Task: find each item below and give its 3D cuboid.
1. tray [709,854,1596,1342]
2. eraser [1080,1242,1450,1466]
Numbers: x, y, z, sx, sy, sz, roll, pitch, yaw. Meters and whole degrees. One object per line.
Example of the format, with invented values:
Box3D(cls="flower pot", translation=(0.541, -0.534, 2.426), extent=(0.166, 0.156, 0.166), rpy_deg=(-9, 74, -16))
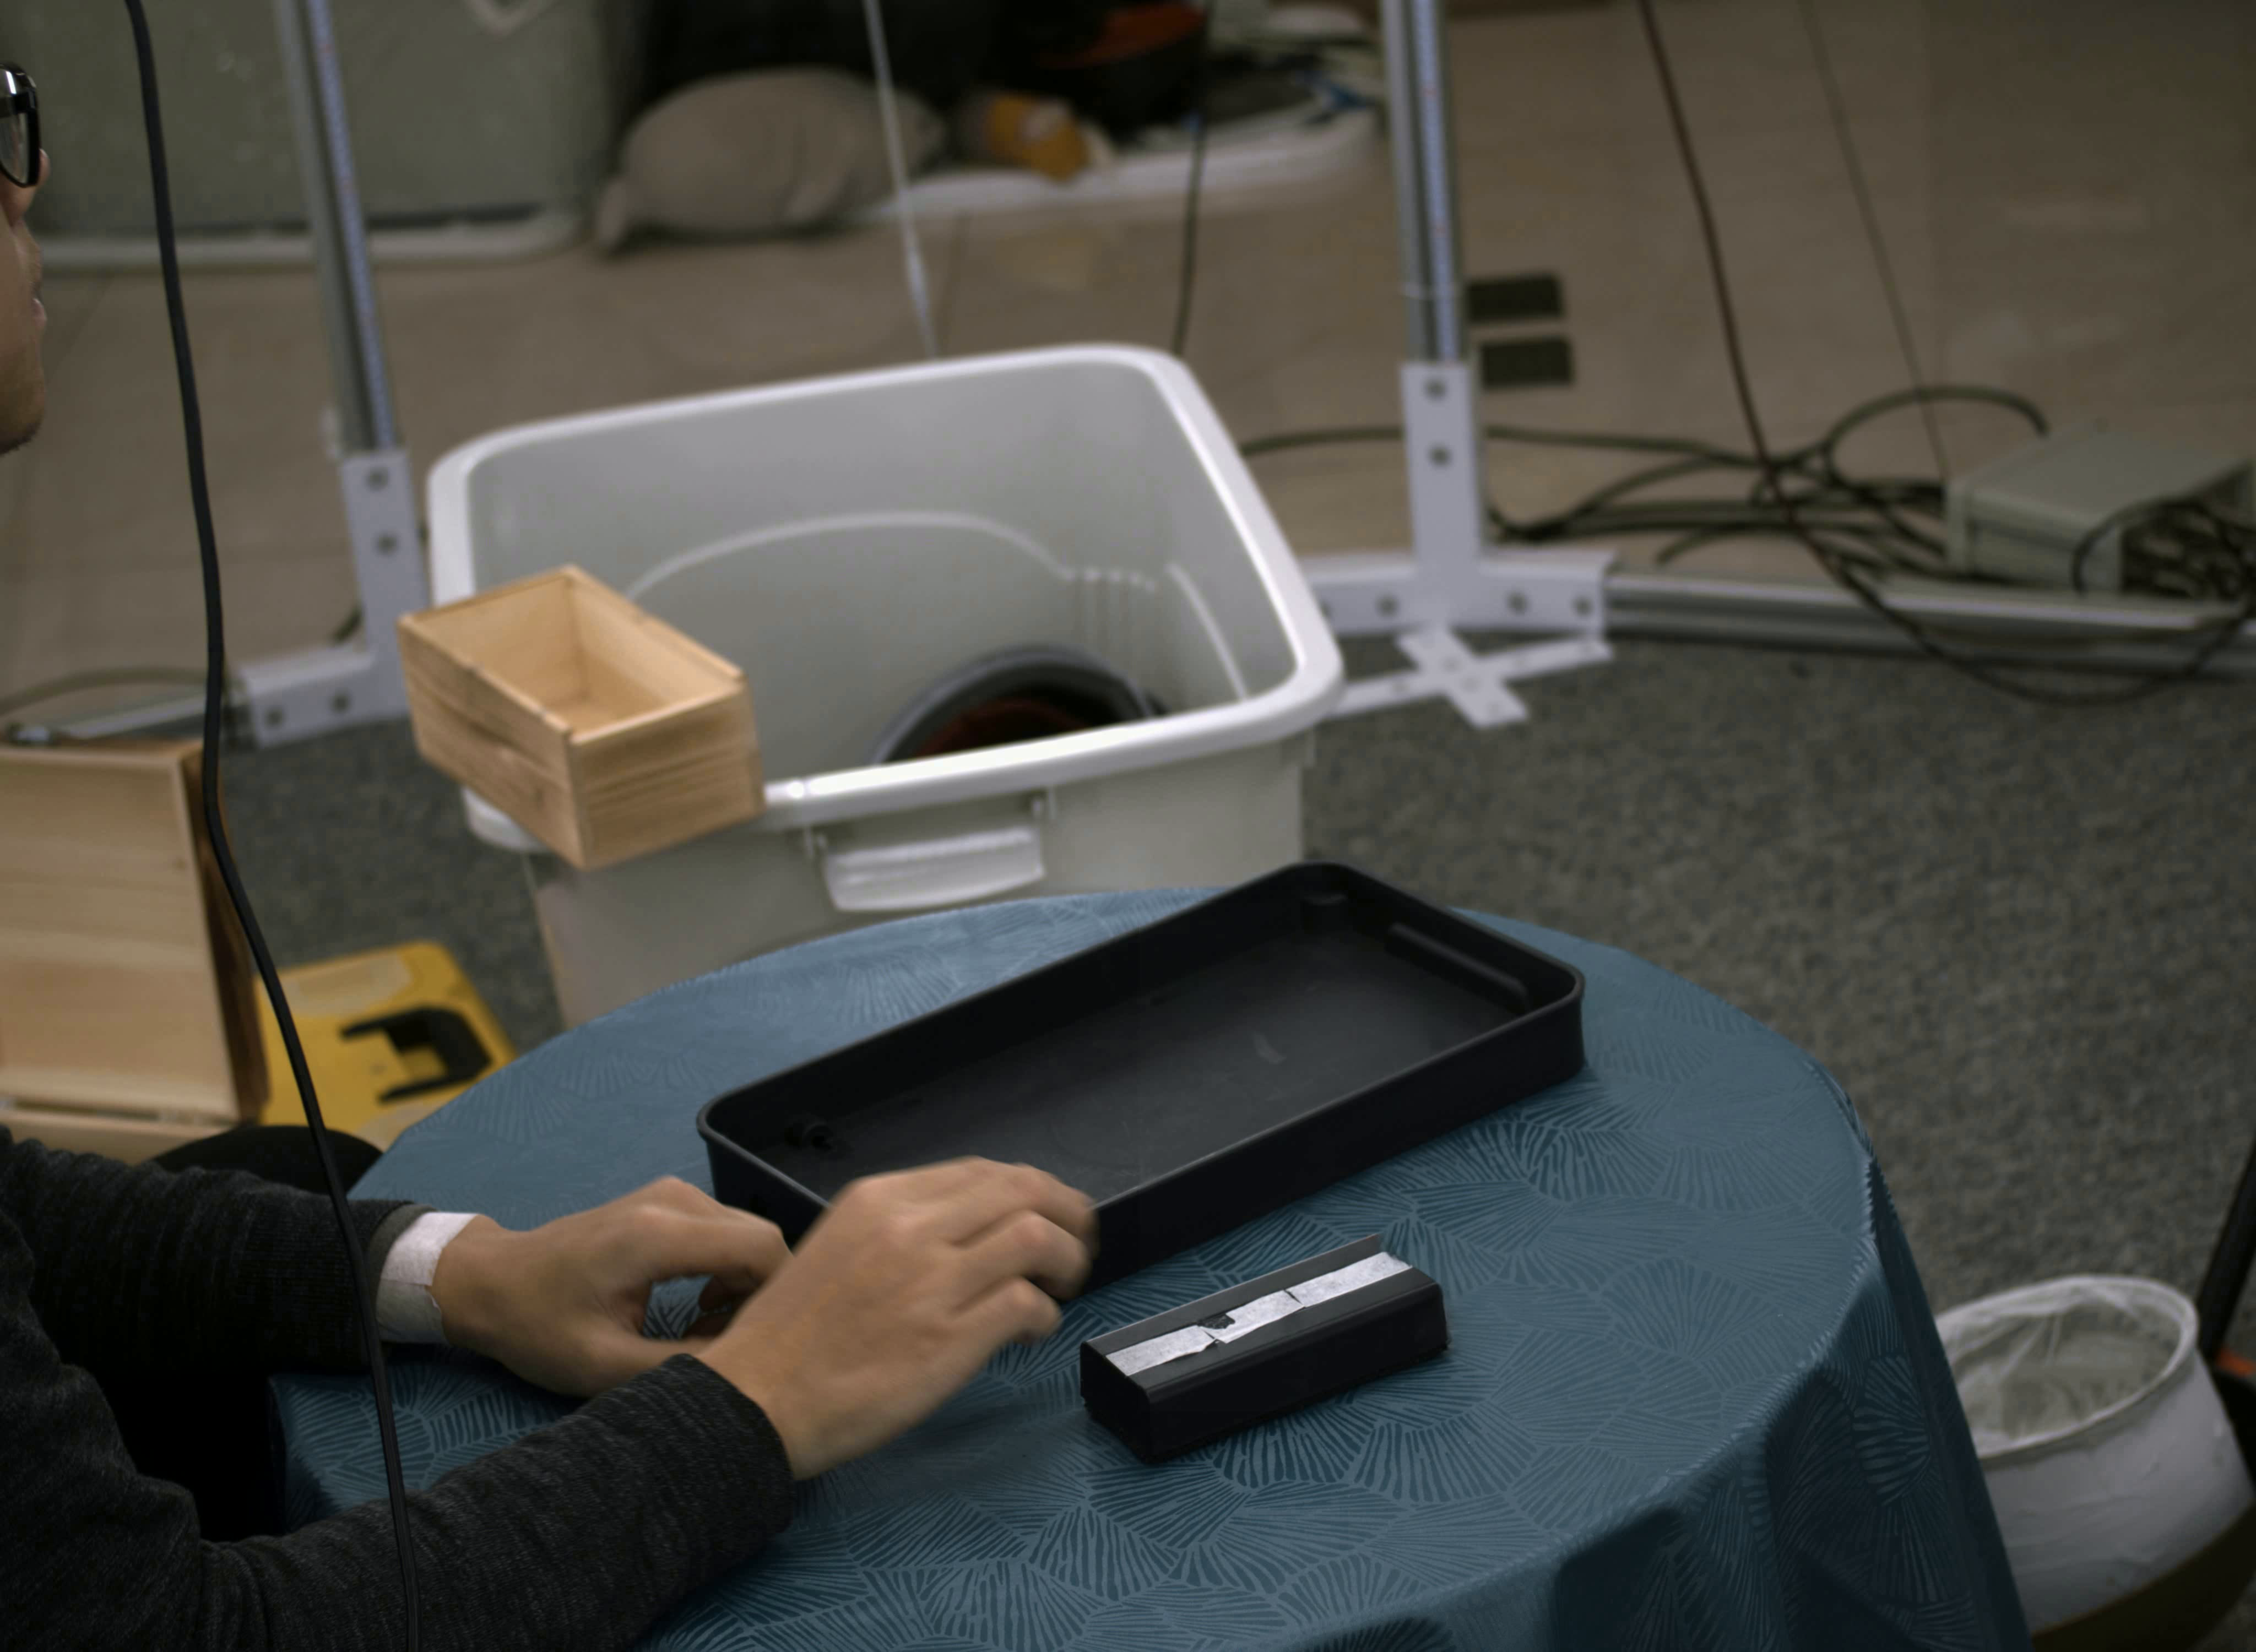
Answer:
Box3D(cls="tray", translation=(0.012, 0.100, 2.189), extent=(0.316, 0.037, 0.182), rpy_deg=(-23, 29, -30))
Box3D(cls="eraser", translation=(0.049, 0.185, 2.004), extent=(0.125, 0.031, 0.053), rpy_deg=(-20, 26, -24))
